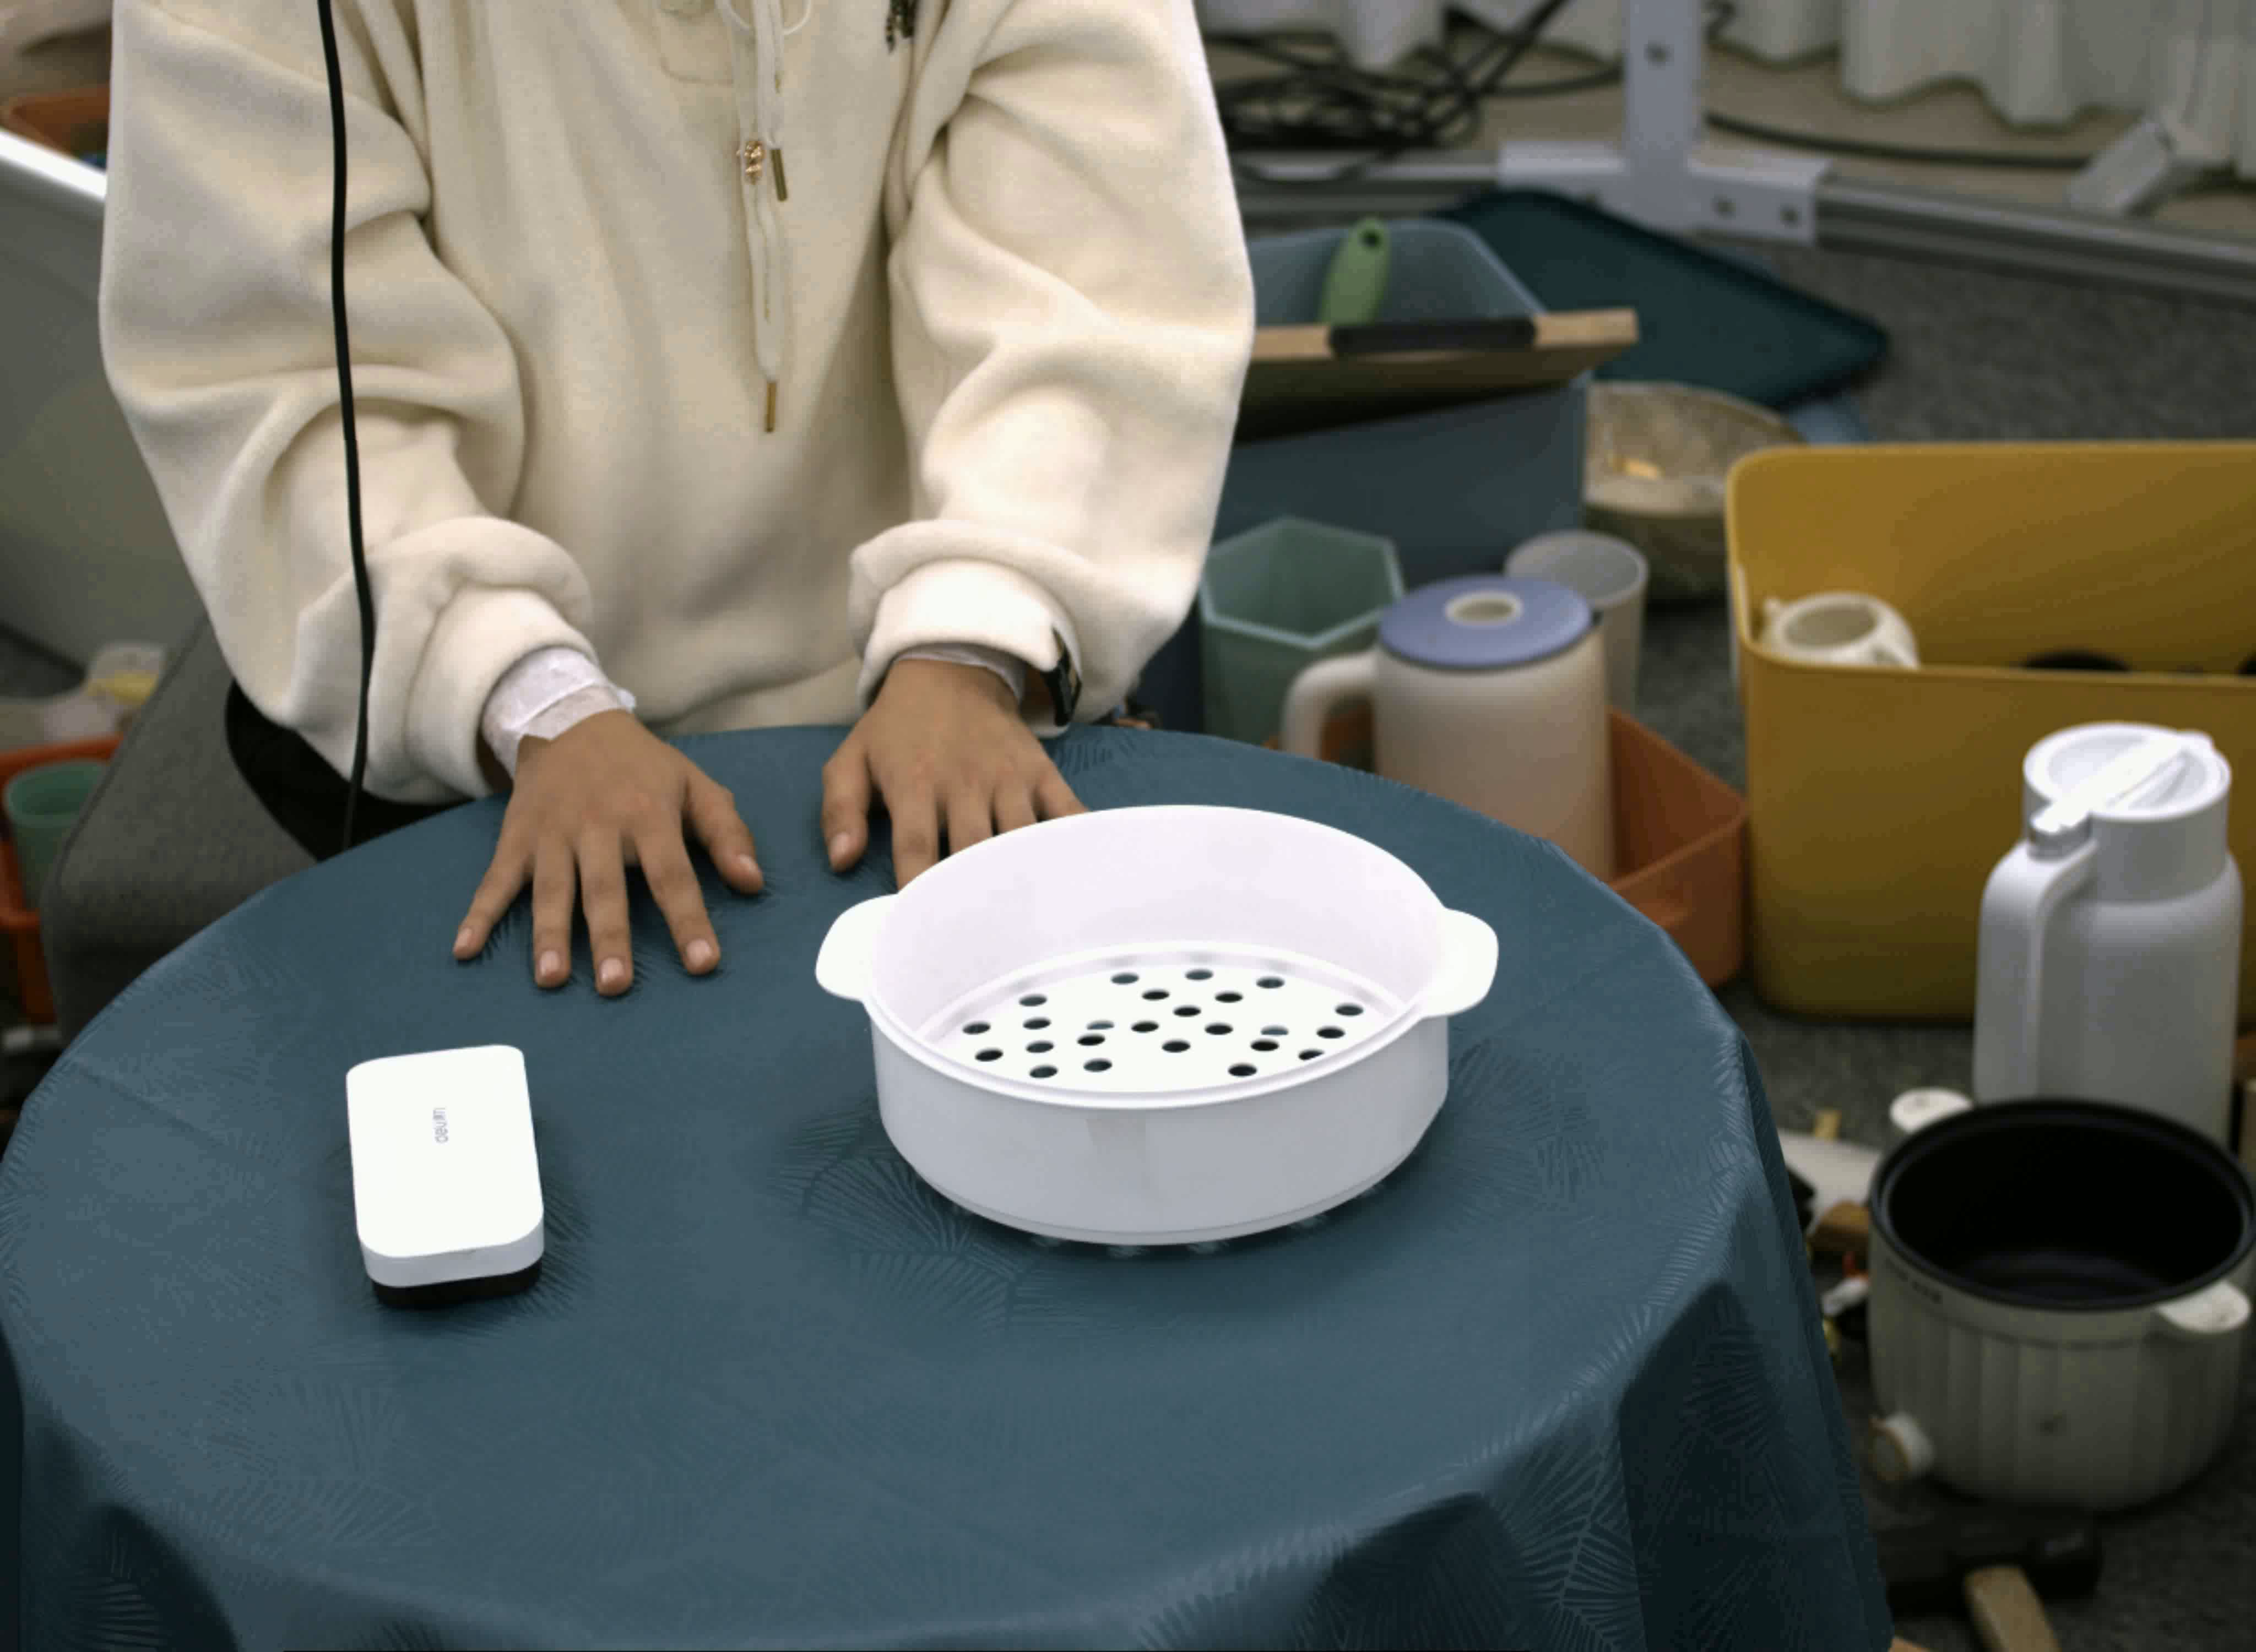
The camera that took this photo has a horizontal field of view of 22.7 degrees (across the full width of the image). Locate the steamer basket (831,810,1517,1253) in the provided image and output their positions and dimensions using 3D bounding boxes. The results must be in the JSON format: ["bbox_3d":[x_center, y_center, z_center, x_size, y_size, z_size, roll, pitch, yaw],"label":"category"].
[{"bbox_3d":[0.016,0.068,1.891,0.229,0.068,0.205,2,27,8],"label":"steamer basket"}]

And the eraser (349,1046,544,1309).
[{"bbox_3d":[-0.226,0.113,1.867,0.063,0.034,0.133,-6,28,-5],"label":"eraser"}]
